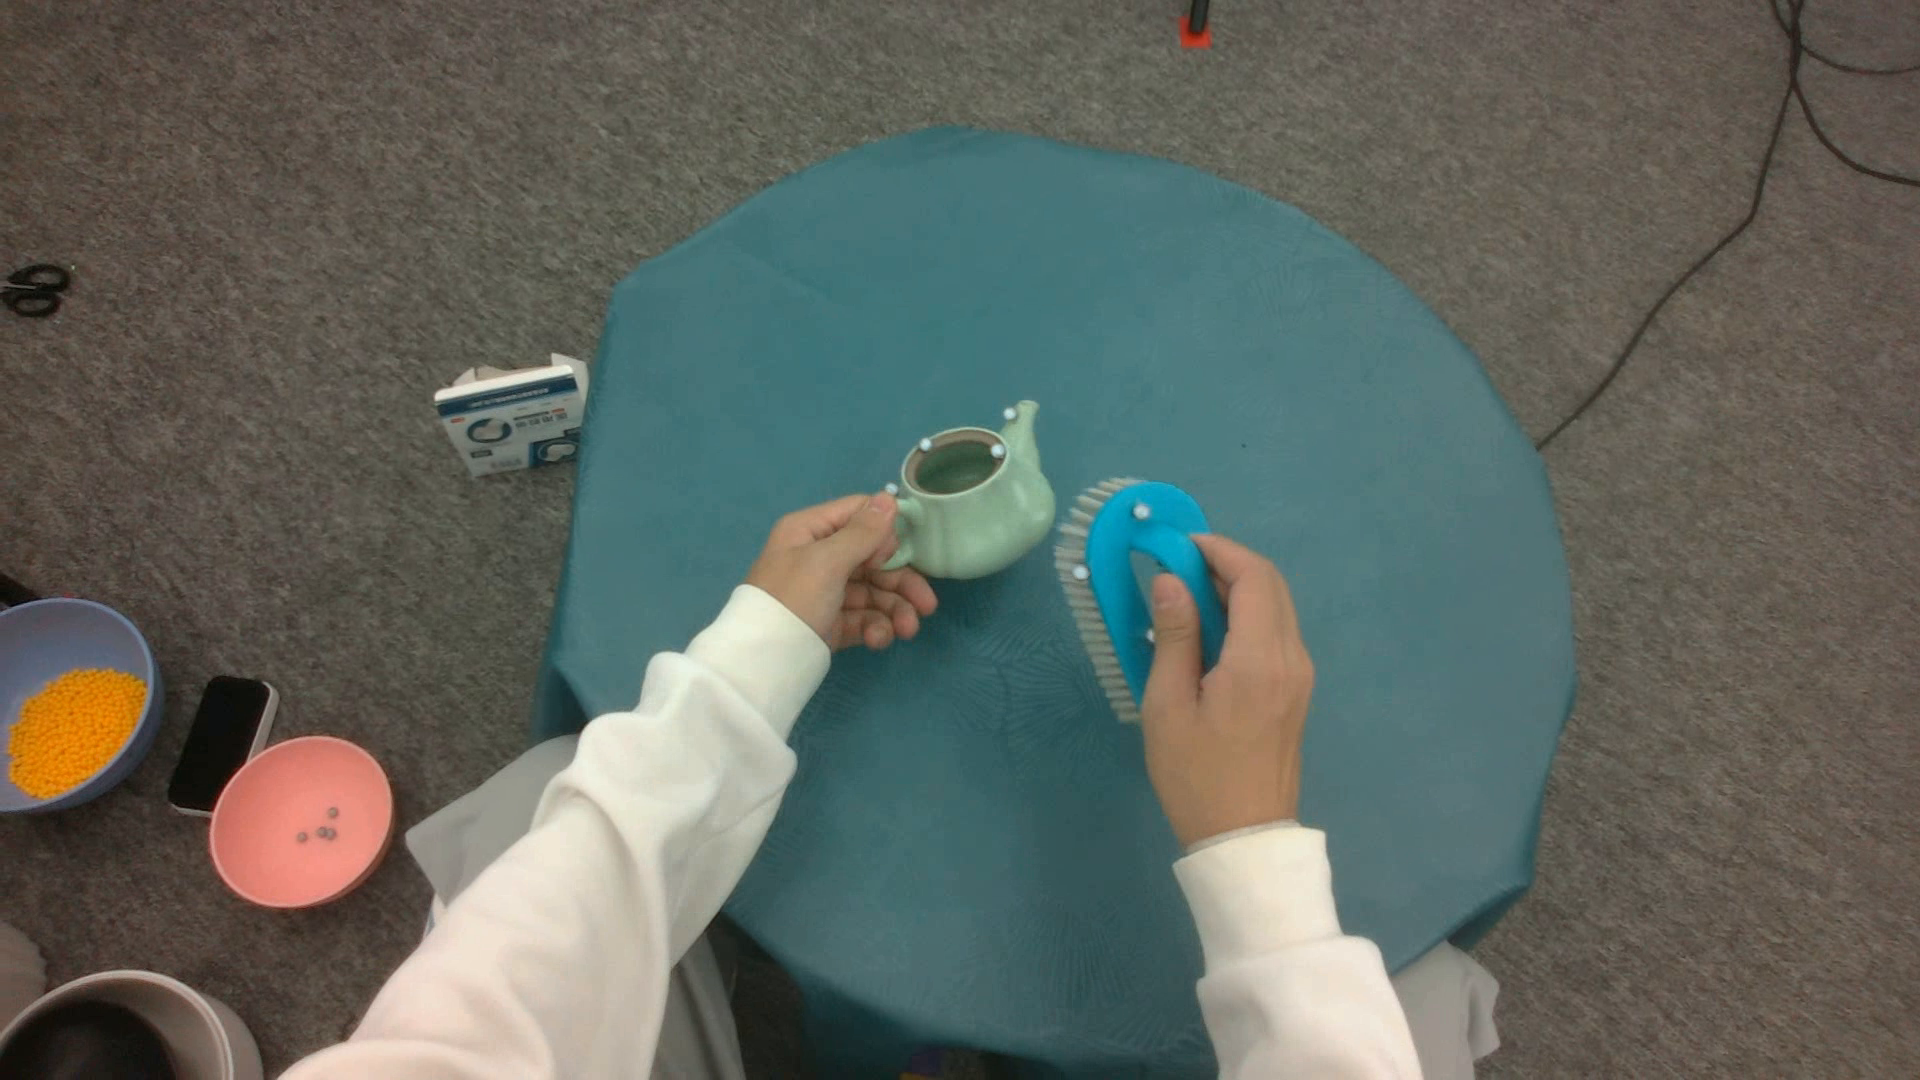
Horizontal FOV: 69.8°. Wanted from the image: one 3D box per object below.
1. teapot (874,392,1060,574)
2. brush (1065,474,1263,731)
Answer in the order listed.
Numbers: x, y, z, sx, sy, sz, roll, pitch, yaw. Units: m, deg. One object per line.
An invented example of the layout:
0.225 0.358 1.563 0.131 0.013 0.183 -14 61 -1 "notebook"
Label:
0.004 -0.024 0.783 0.096 0.061 0.137 26 55 39 "teapot"
0.115 0.031 0.698 0.084 0.063 0.141 -32 107 -27 "brush"
